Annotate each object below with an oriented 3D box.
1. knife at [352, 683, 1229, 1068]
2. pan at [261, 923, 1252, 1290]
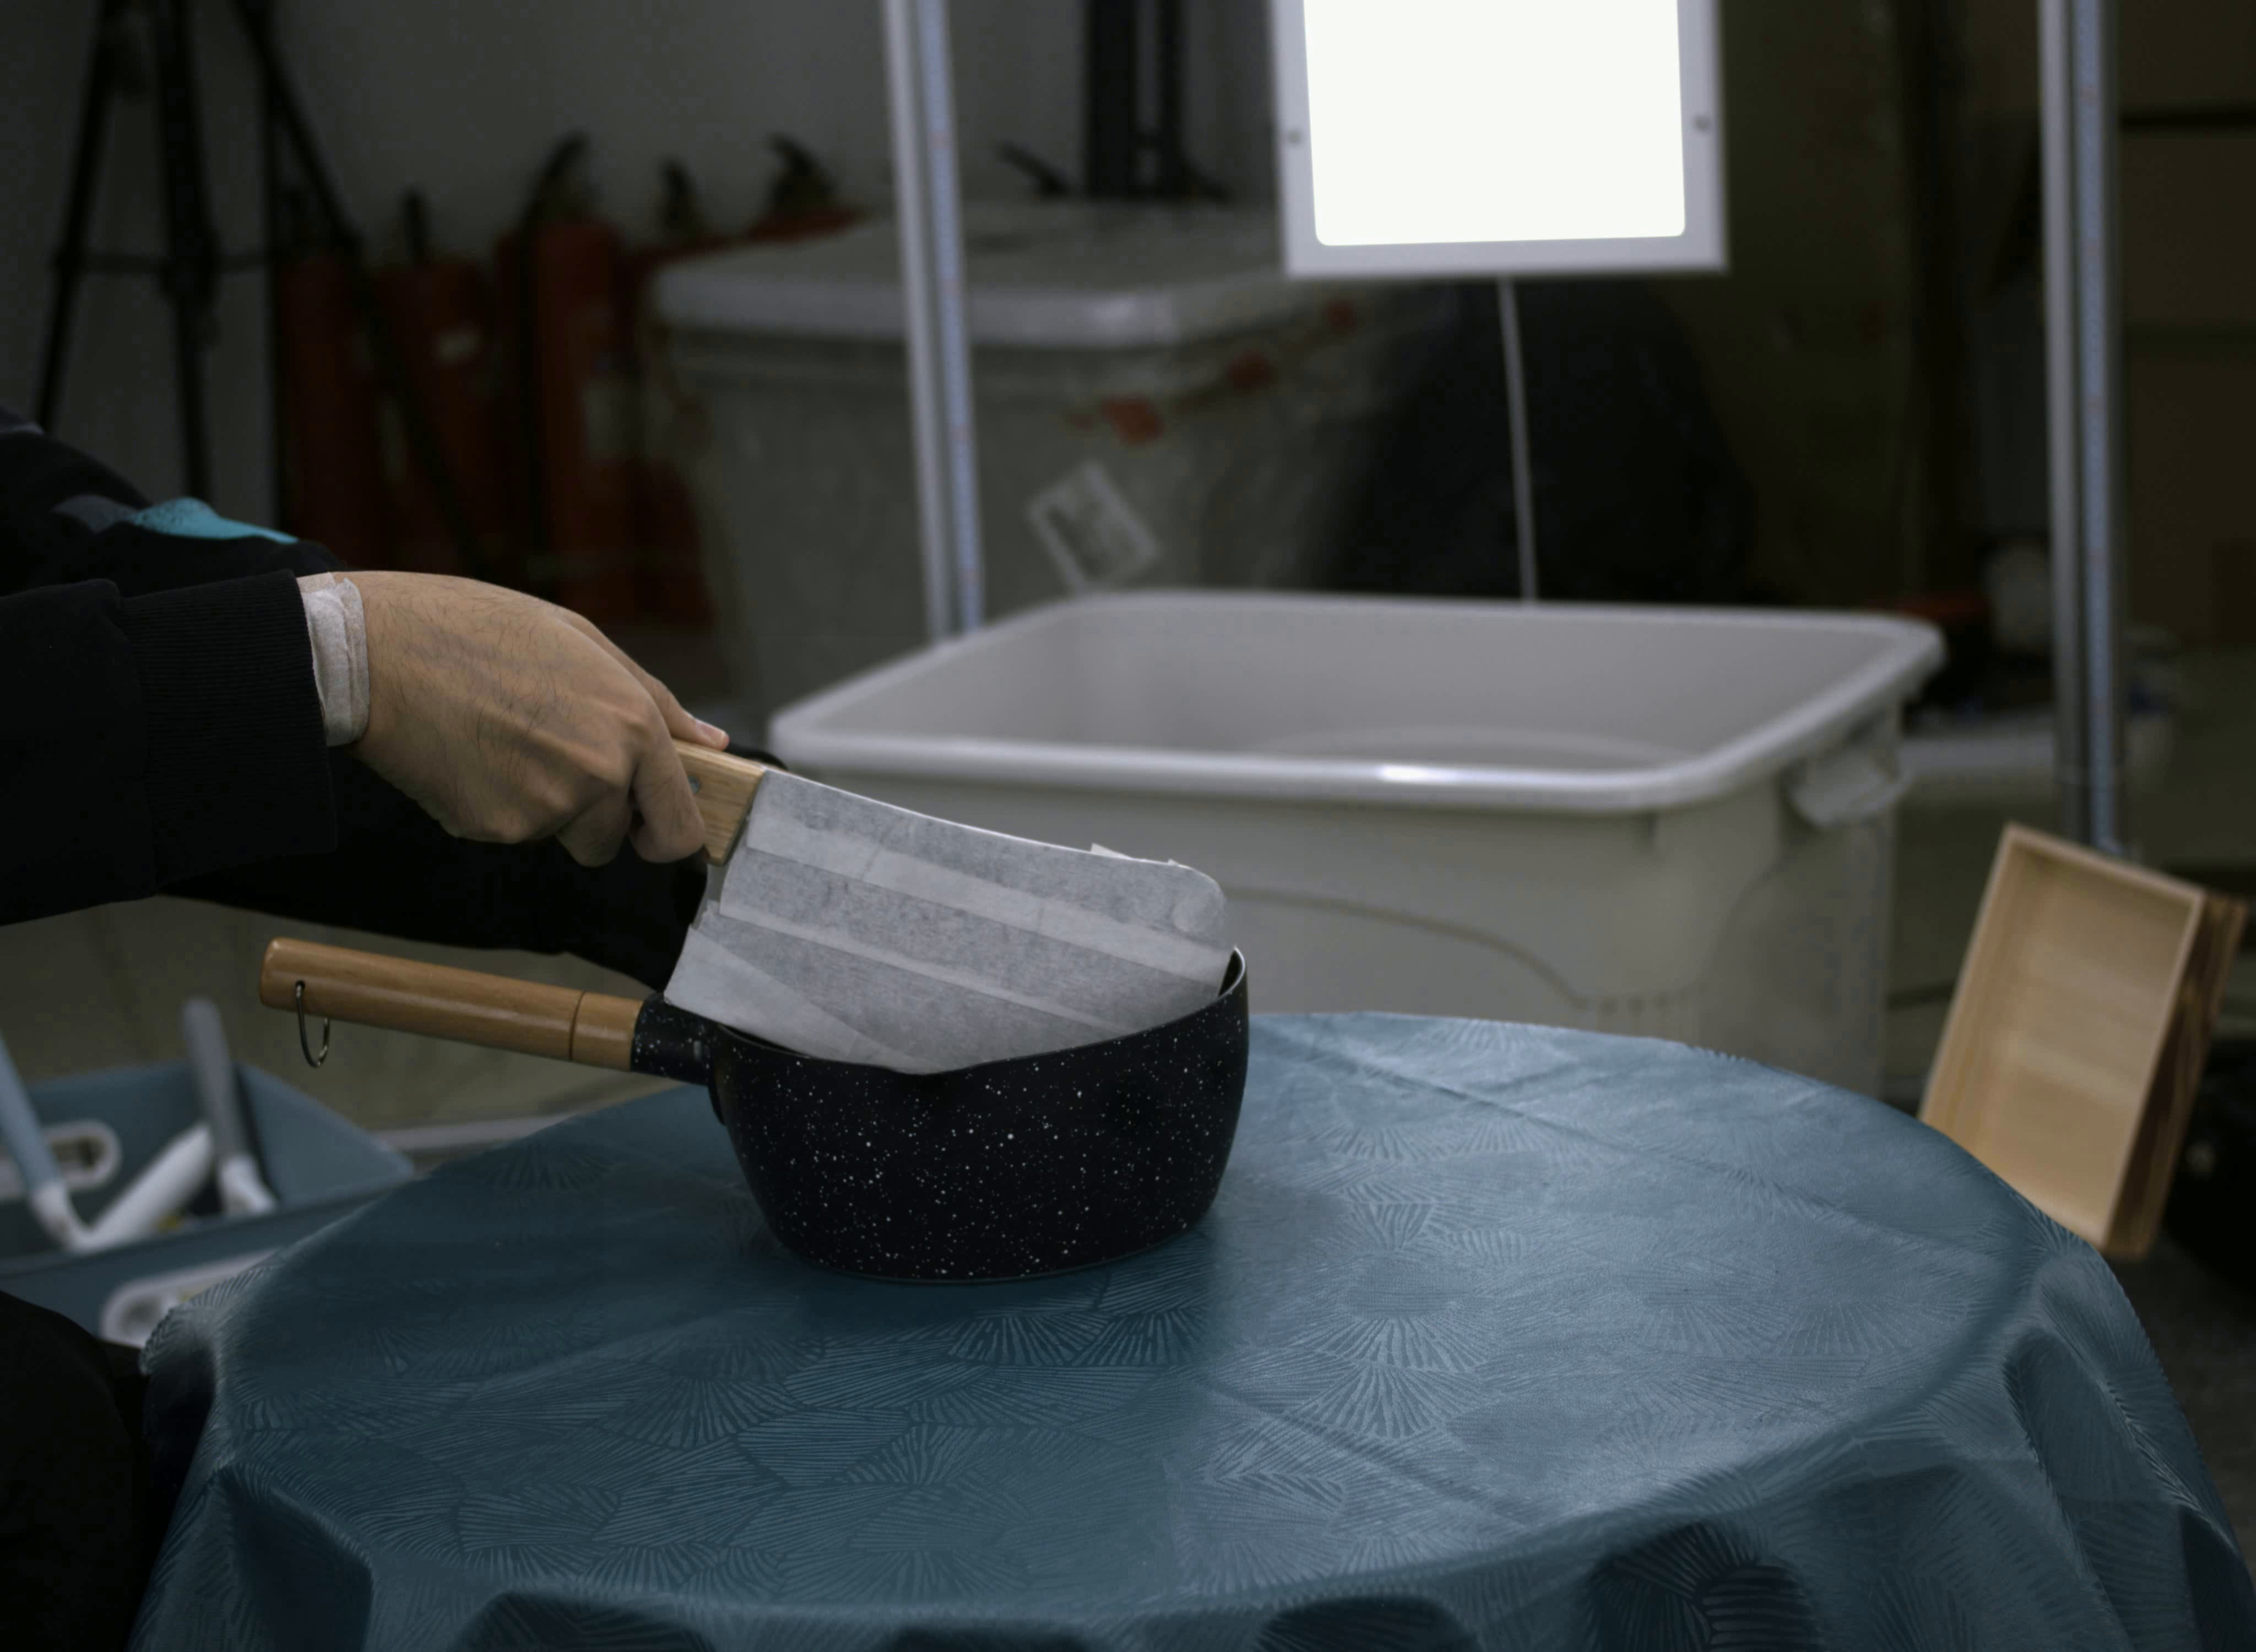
[{"bbox_3d":[-0.109,0.018,1.838,0.312,0.114,0.022,21,4,-11],"label":"knife"},{"bbox_3d":[-0.127,0.085,1.882,0.344,0.108,0.206,-2,15,8],"label":"pan"}]
